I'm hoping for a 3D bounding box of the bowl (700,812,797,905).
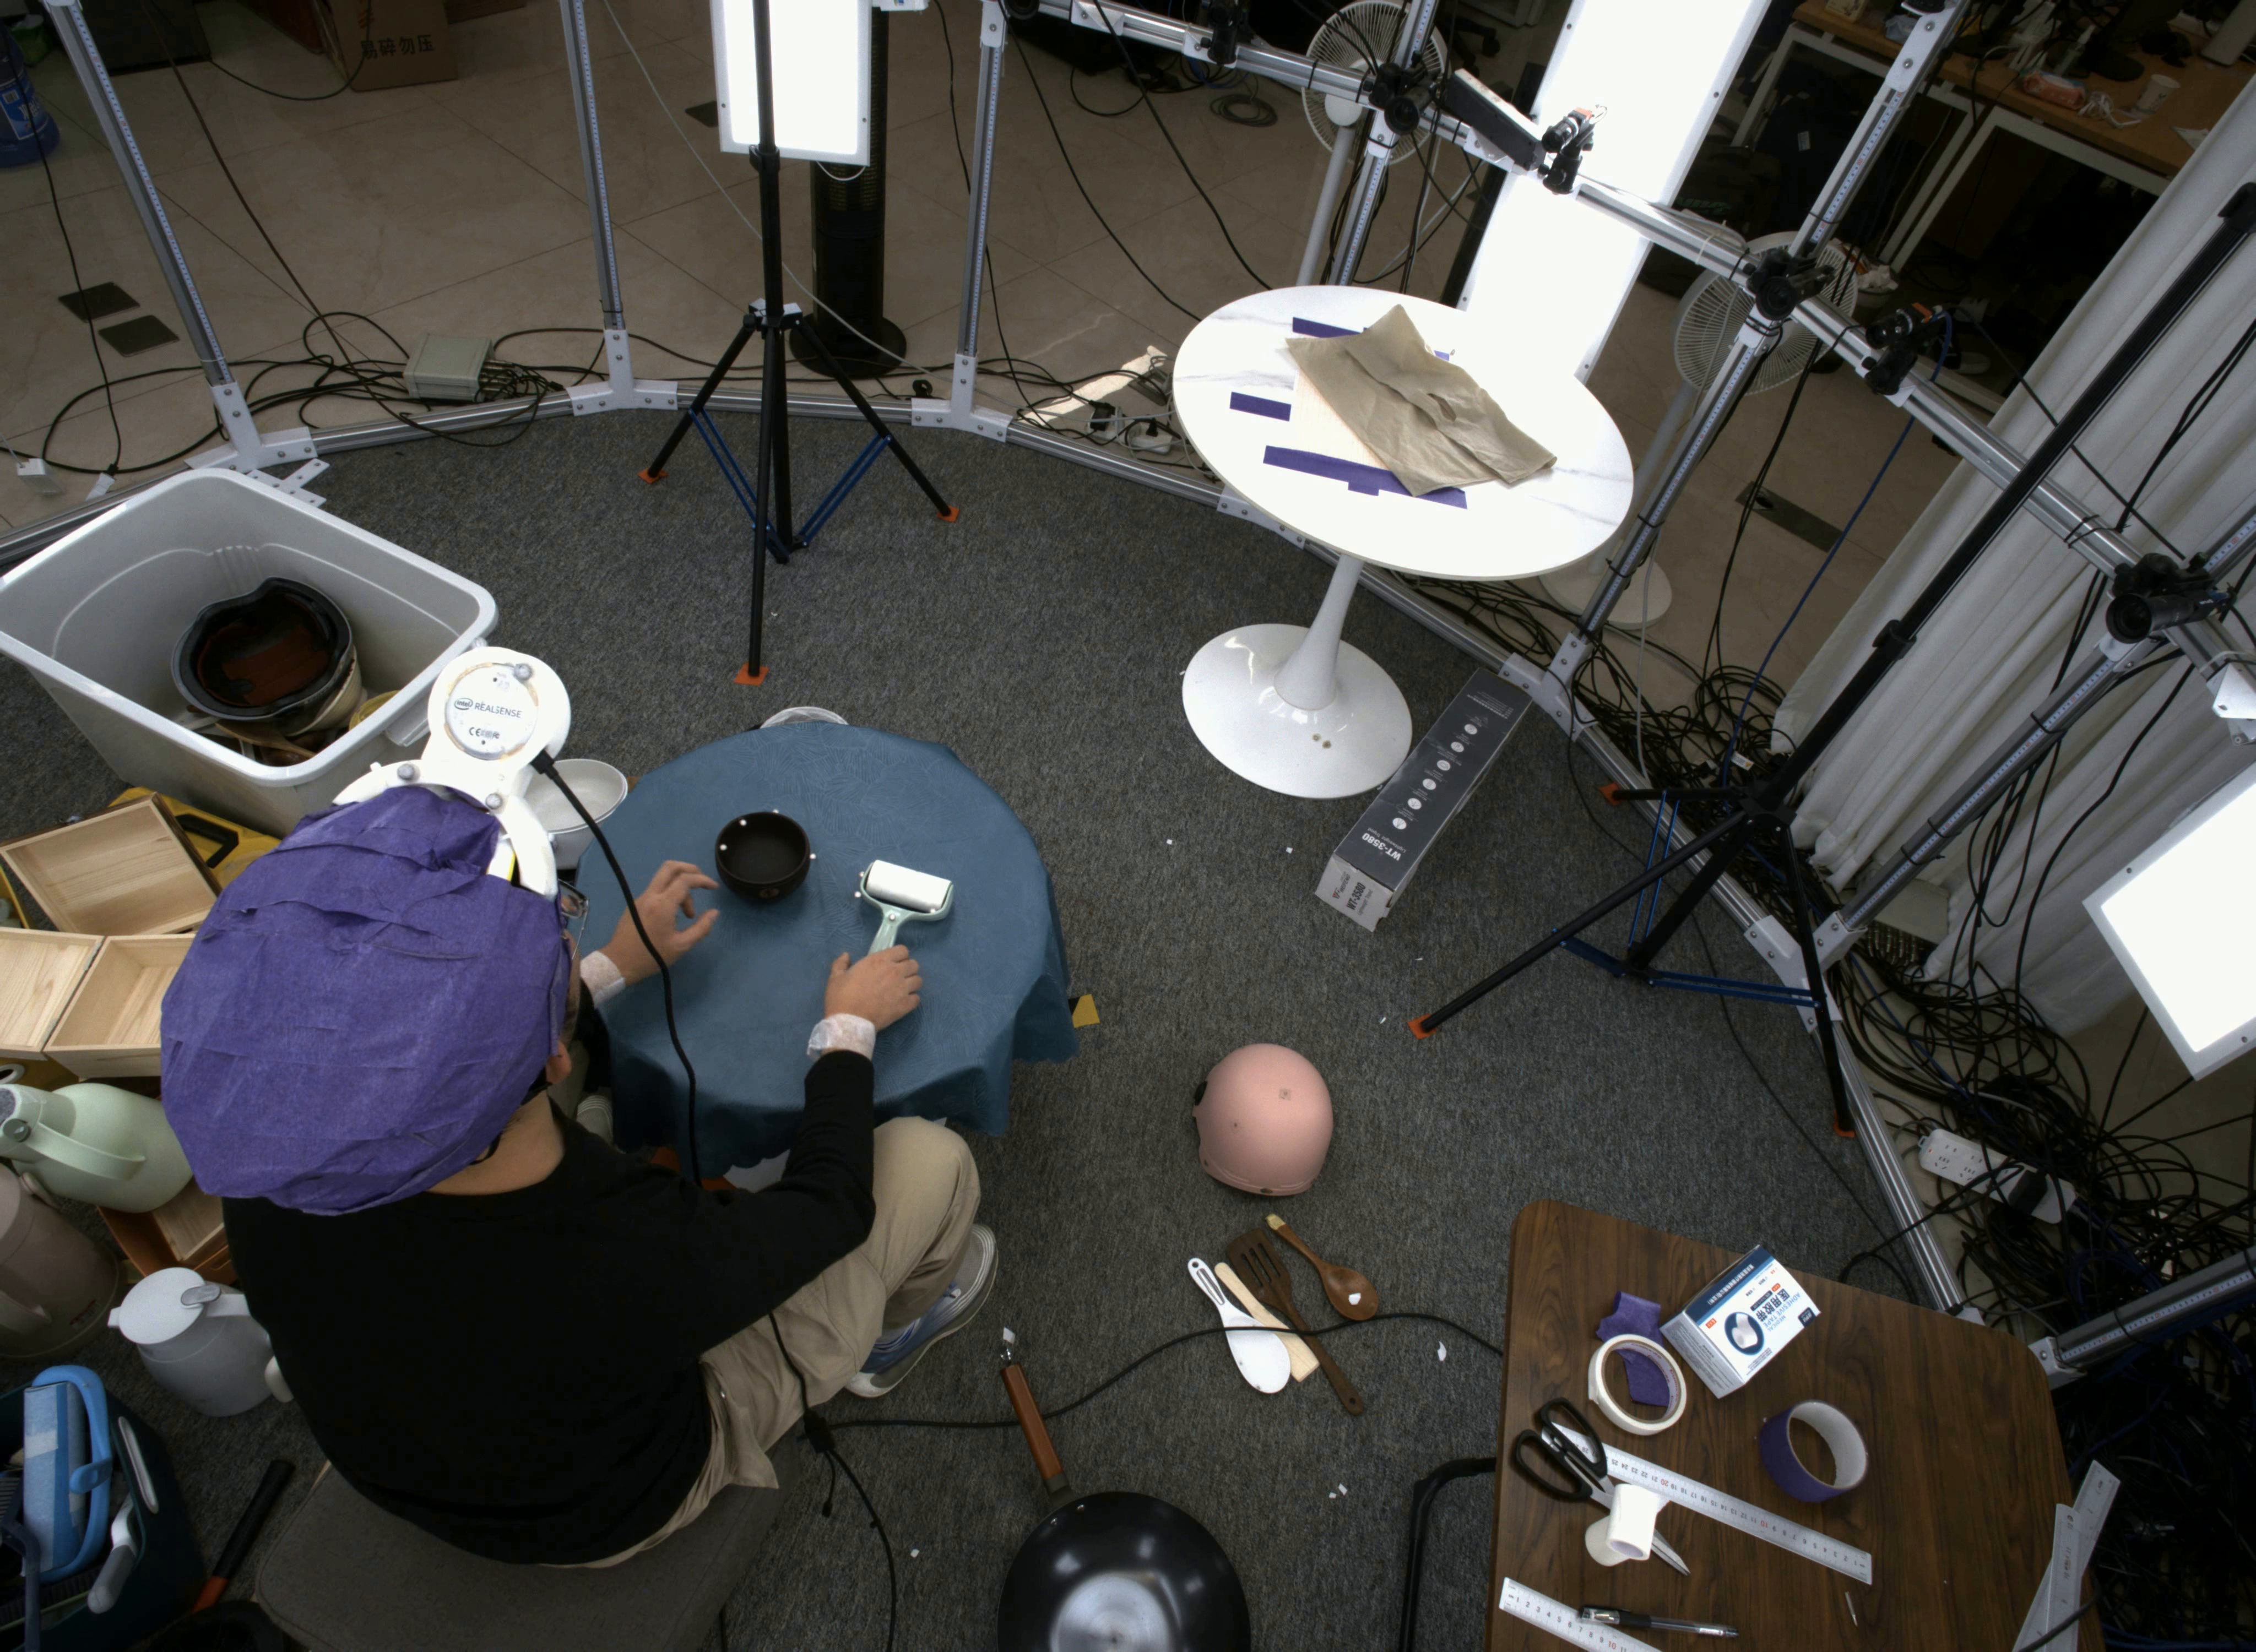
[{"bbox_3d":[-0.475,0.047,1.624,0.118,0.071,0.116,8,53,-9],"label":"bowl"}]

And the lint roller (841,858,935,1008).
[{"bbox_3d":[-0.318,0.131,1.620,0.116,0.049,0.195,16,53,-3],"label":"lint roller"}]
